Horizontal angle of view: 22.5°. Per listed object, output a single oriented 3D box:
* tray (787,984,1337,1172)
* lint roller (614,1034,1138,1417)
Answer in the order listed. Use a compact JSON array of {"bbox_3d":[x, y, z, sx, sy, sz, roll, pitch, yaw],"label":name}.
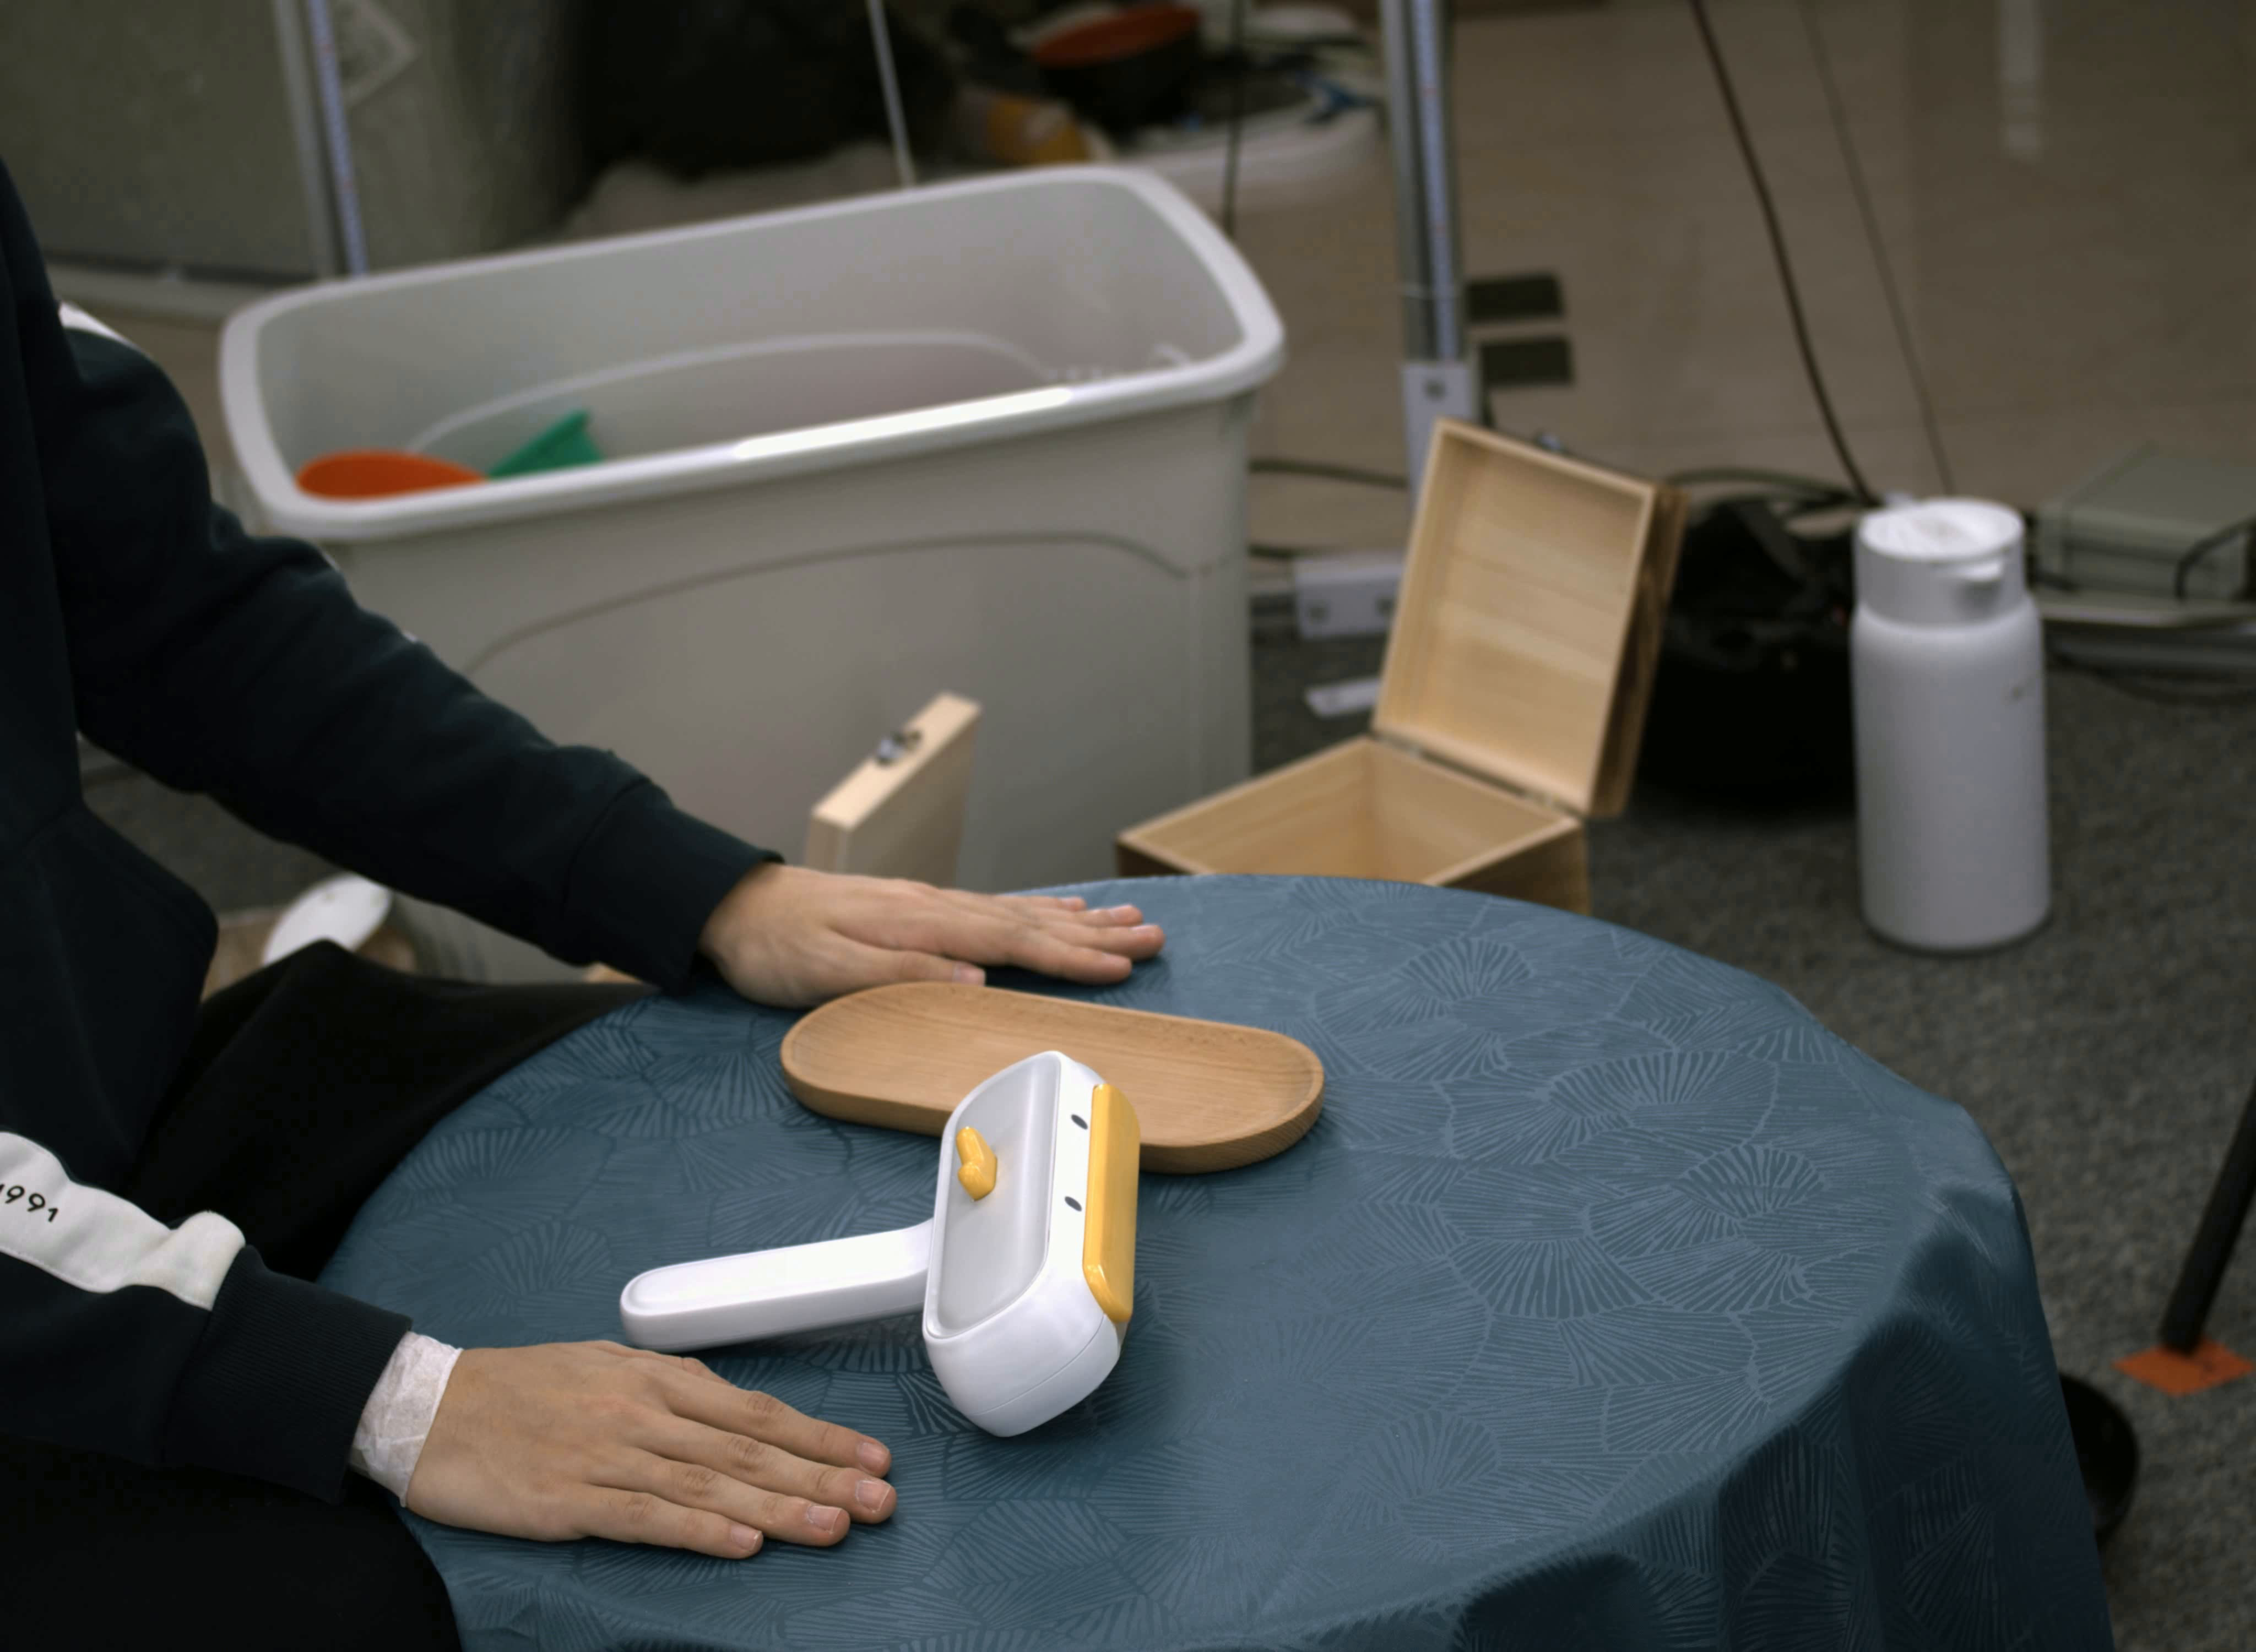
[{"bbox_3d":[-0.027,0.098,2.218,0.230,0.020,0.100,8,30,26],"label":"tray"},{"bbox_3d":[-0.091,0.161,2.061,0.192,0.075,0.189,-24,30,10],"label":"lint roller"}]
